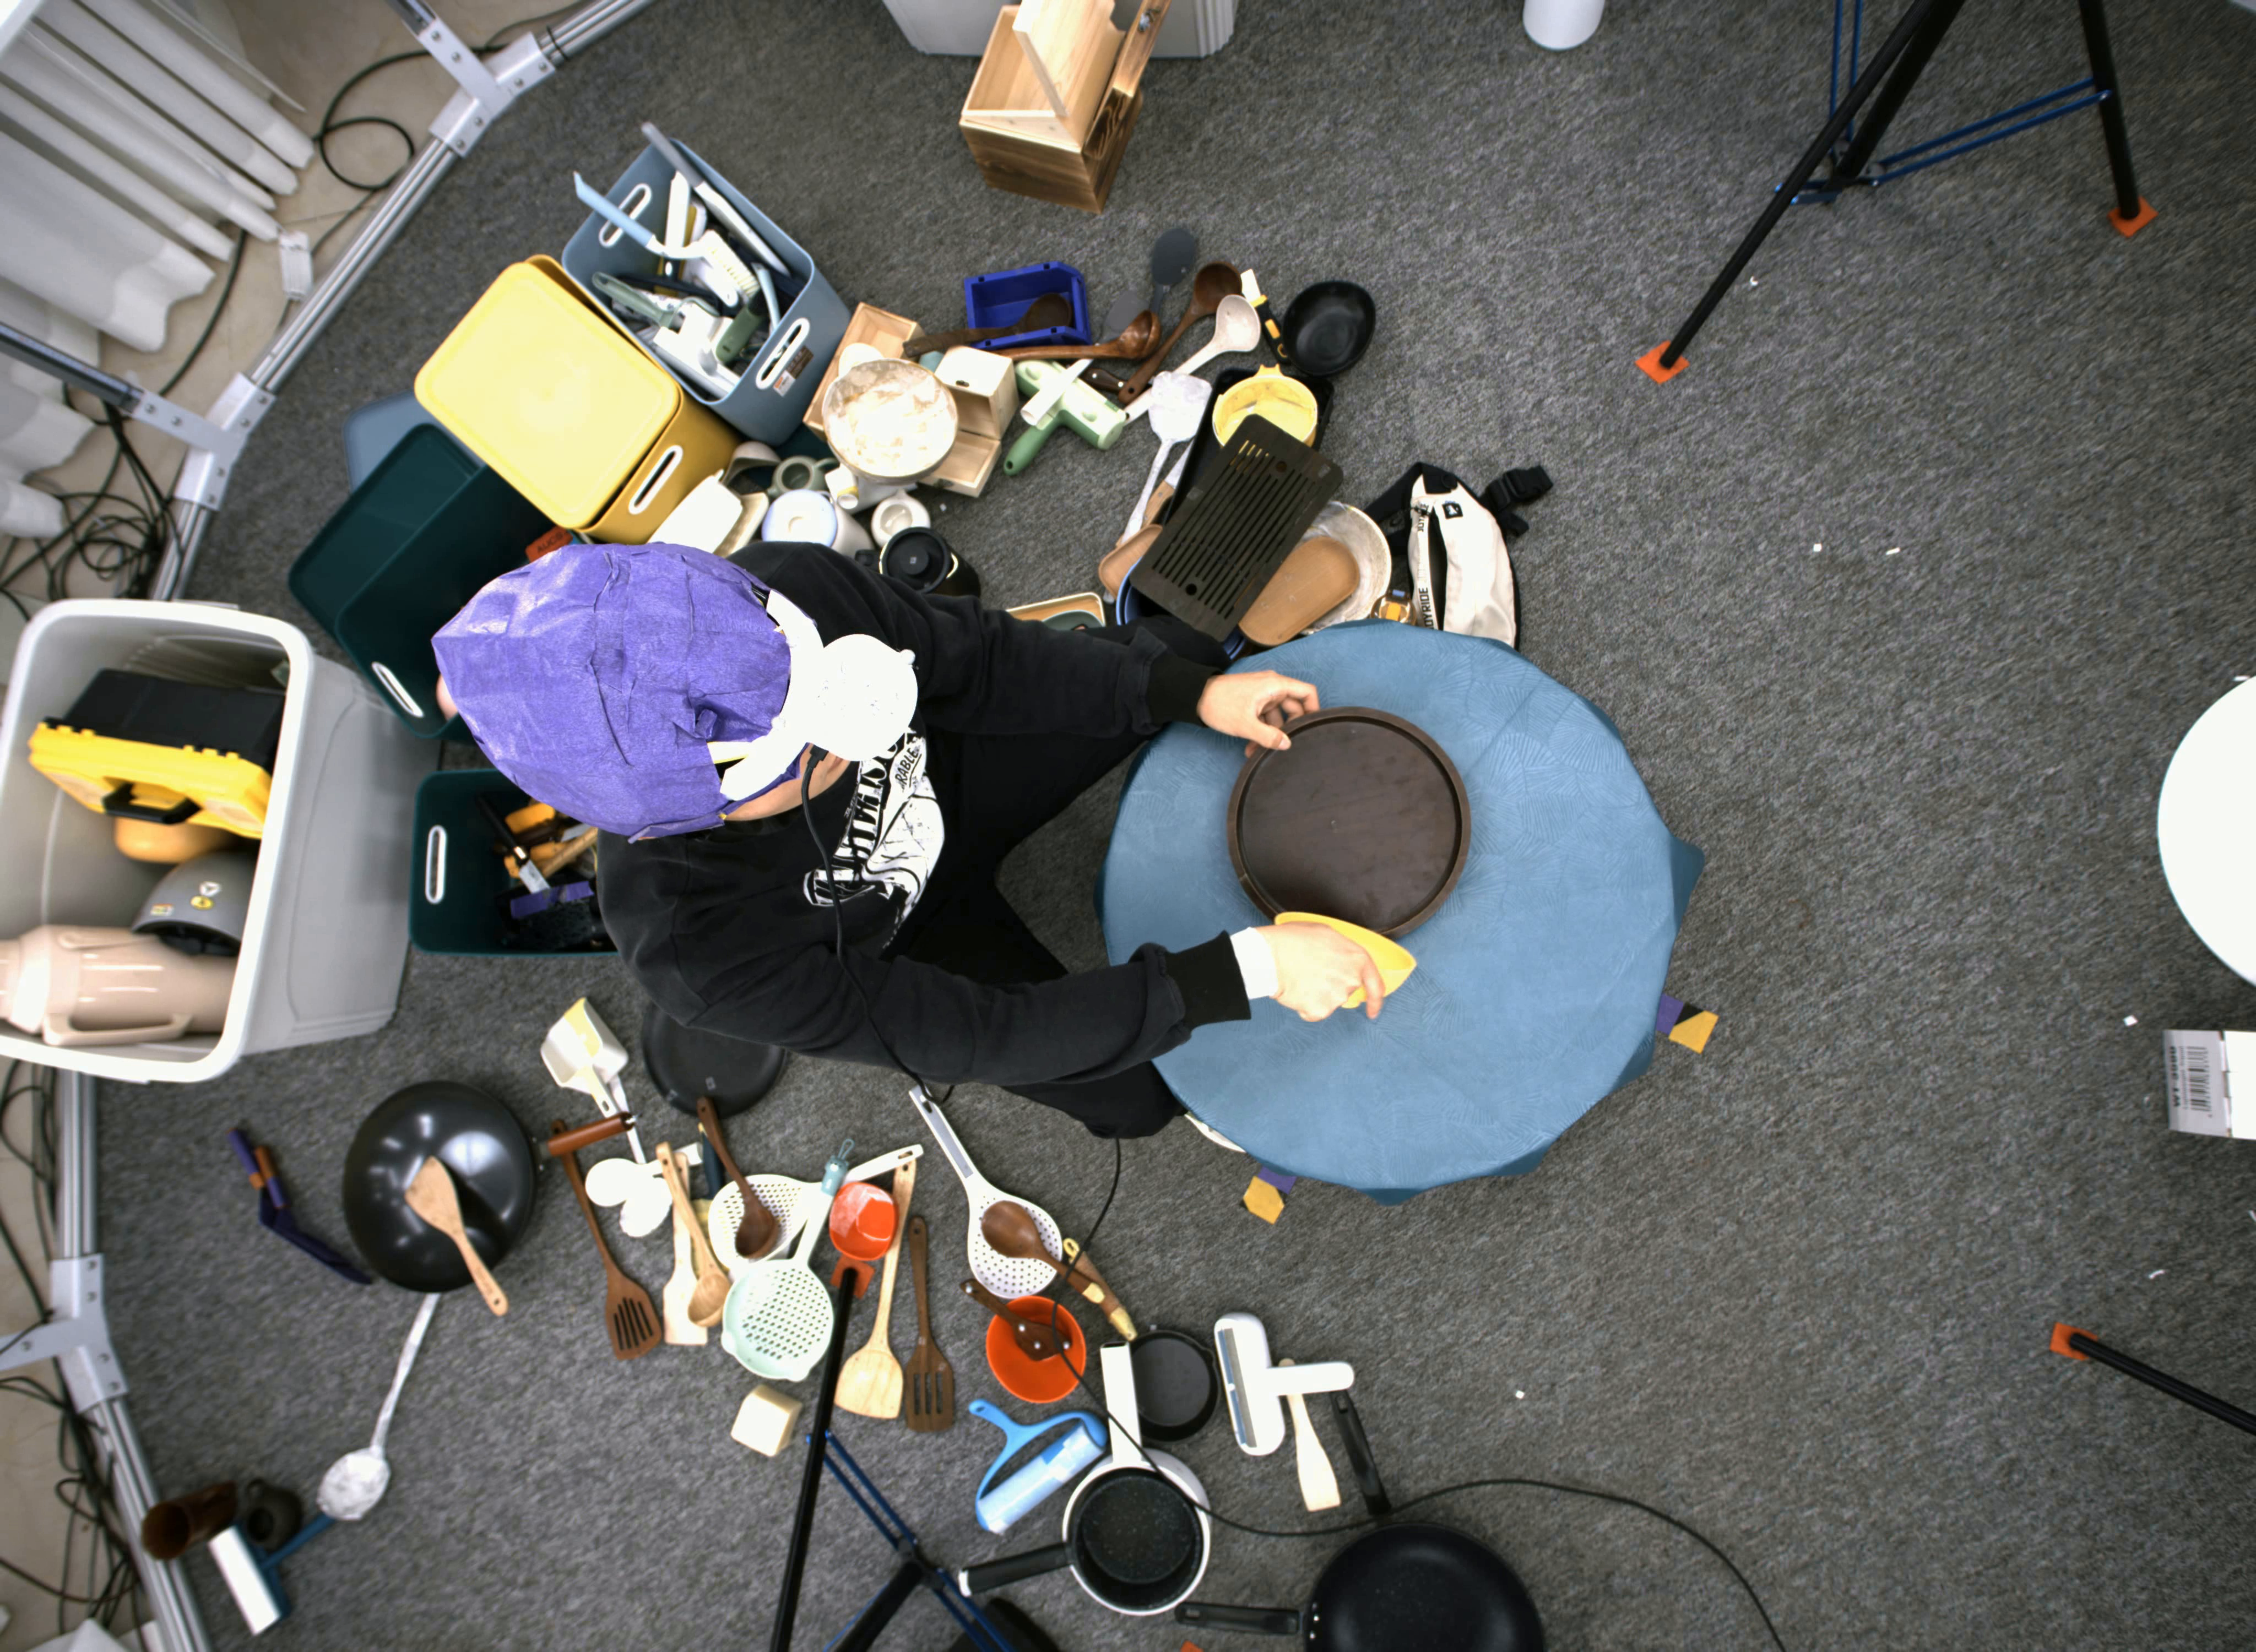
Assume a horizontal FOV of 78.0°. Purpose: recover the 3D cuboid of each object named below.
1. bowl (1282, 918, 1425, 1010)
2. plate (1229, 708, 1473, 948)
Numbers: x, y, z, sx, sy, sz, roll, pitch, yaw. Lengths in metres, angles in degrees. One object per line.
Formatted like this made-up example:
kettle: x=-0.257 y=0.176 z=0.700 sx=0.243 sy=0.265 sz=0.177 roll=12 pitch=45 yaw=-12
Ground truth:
bowl: x=0.217 y=0.142 z=1.380 sx=0.145 sy=0.143 sz=0.061 roll=15 pitch=104 yaw=11
plate: x=0.231 y=0.003 z=1.440 sx=0.255 sy=0.029 sz=0.257 roll=1 pitch=100 yaw=8
